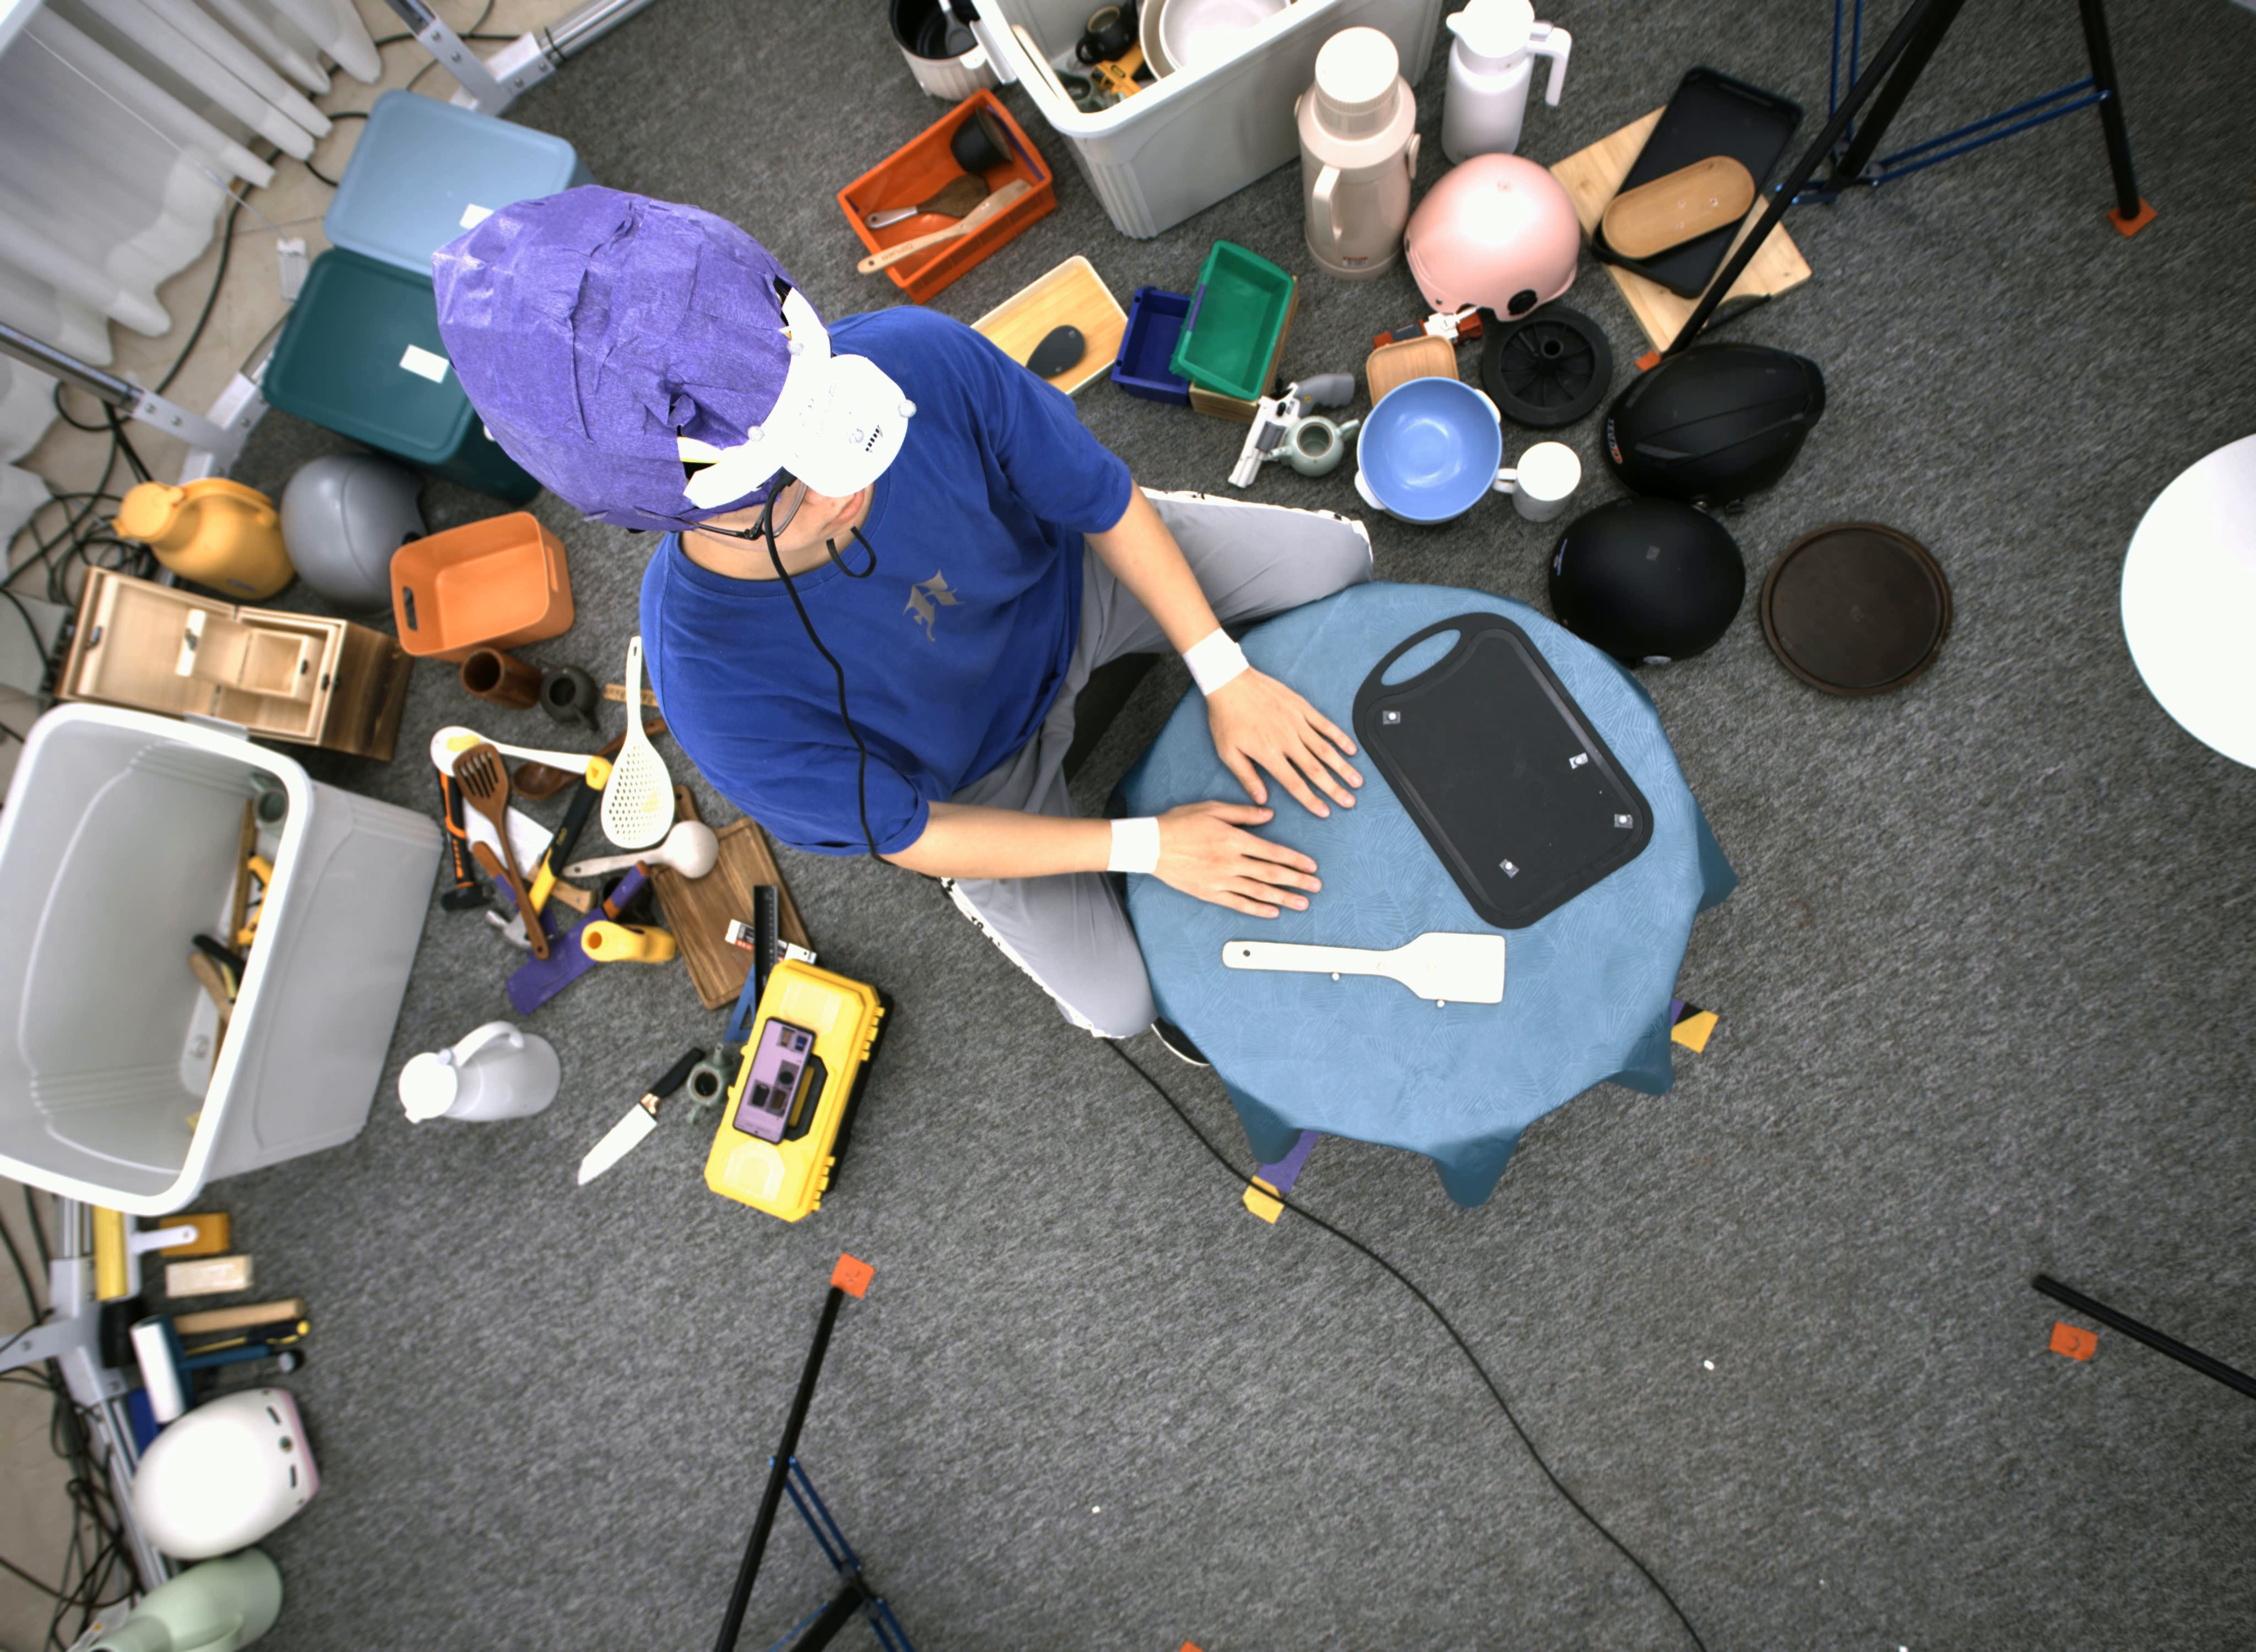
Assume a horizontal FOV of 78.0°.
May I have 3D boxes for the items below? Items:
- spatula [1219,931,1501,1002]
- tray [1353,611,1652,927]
[{"bbox_3d":[0.242,0.140,1.455,0.294,0.010,0.072,2,89,11],"label":"spatula"},{"bbox_3d":[0.385,-0.070,1.440,0.212,0.010,0.323,-33,82,7],"label":"tray"}]
